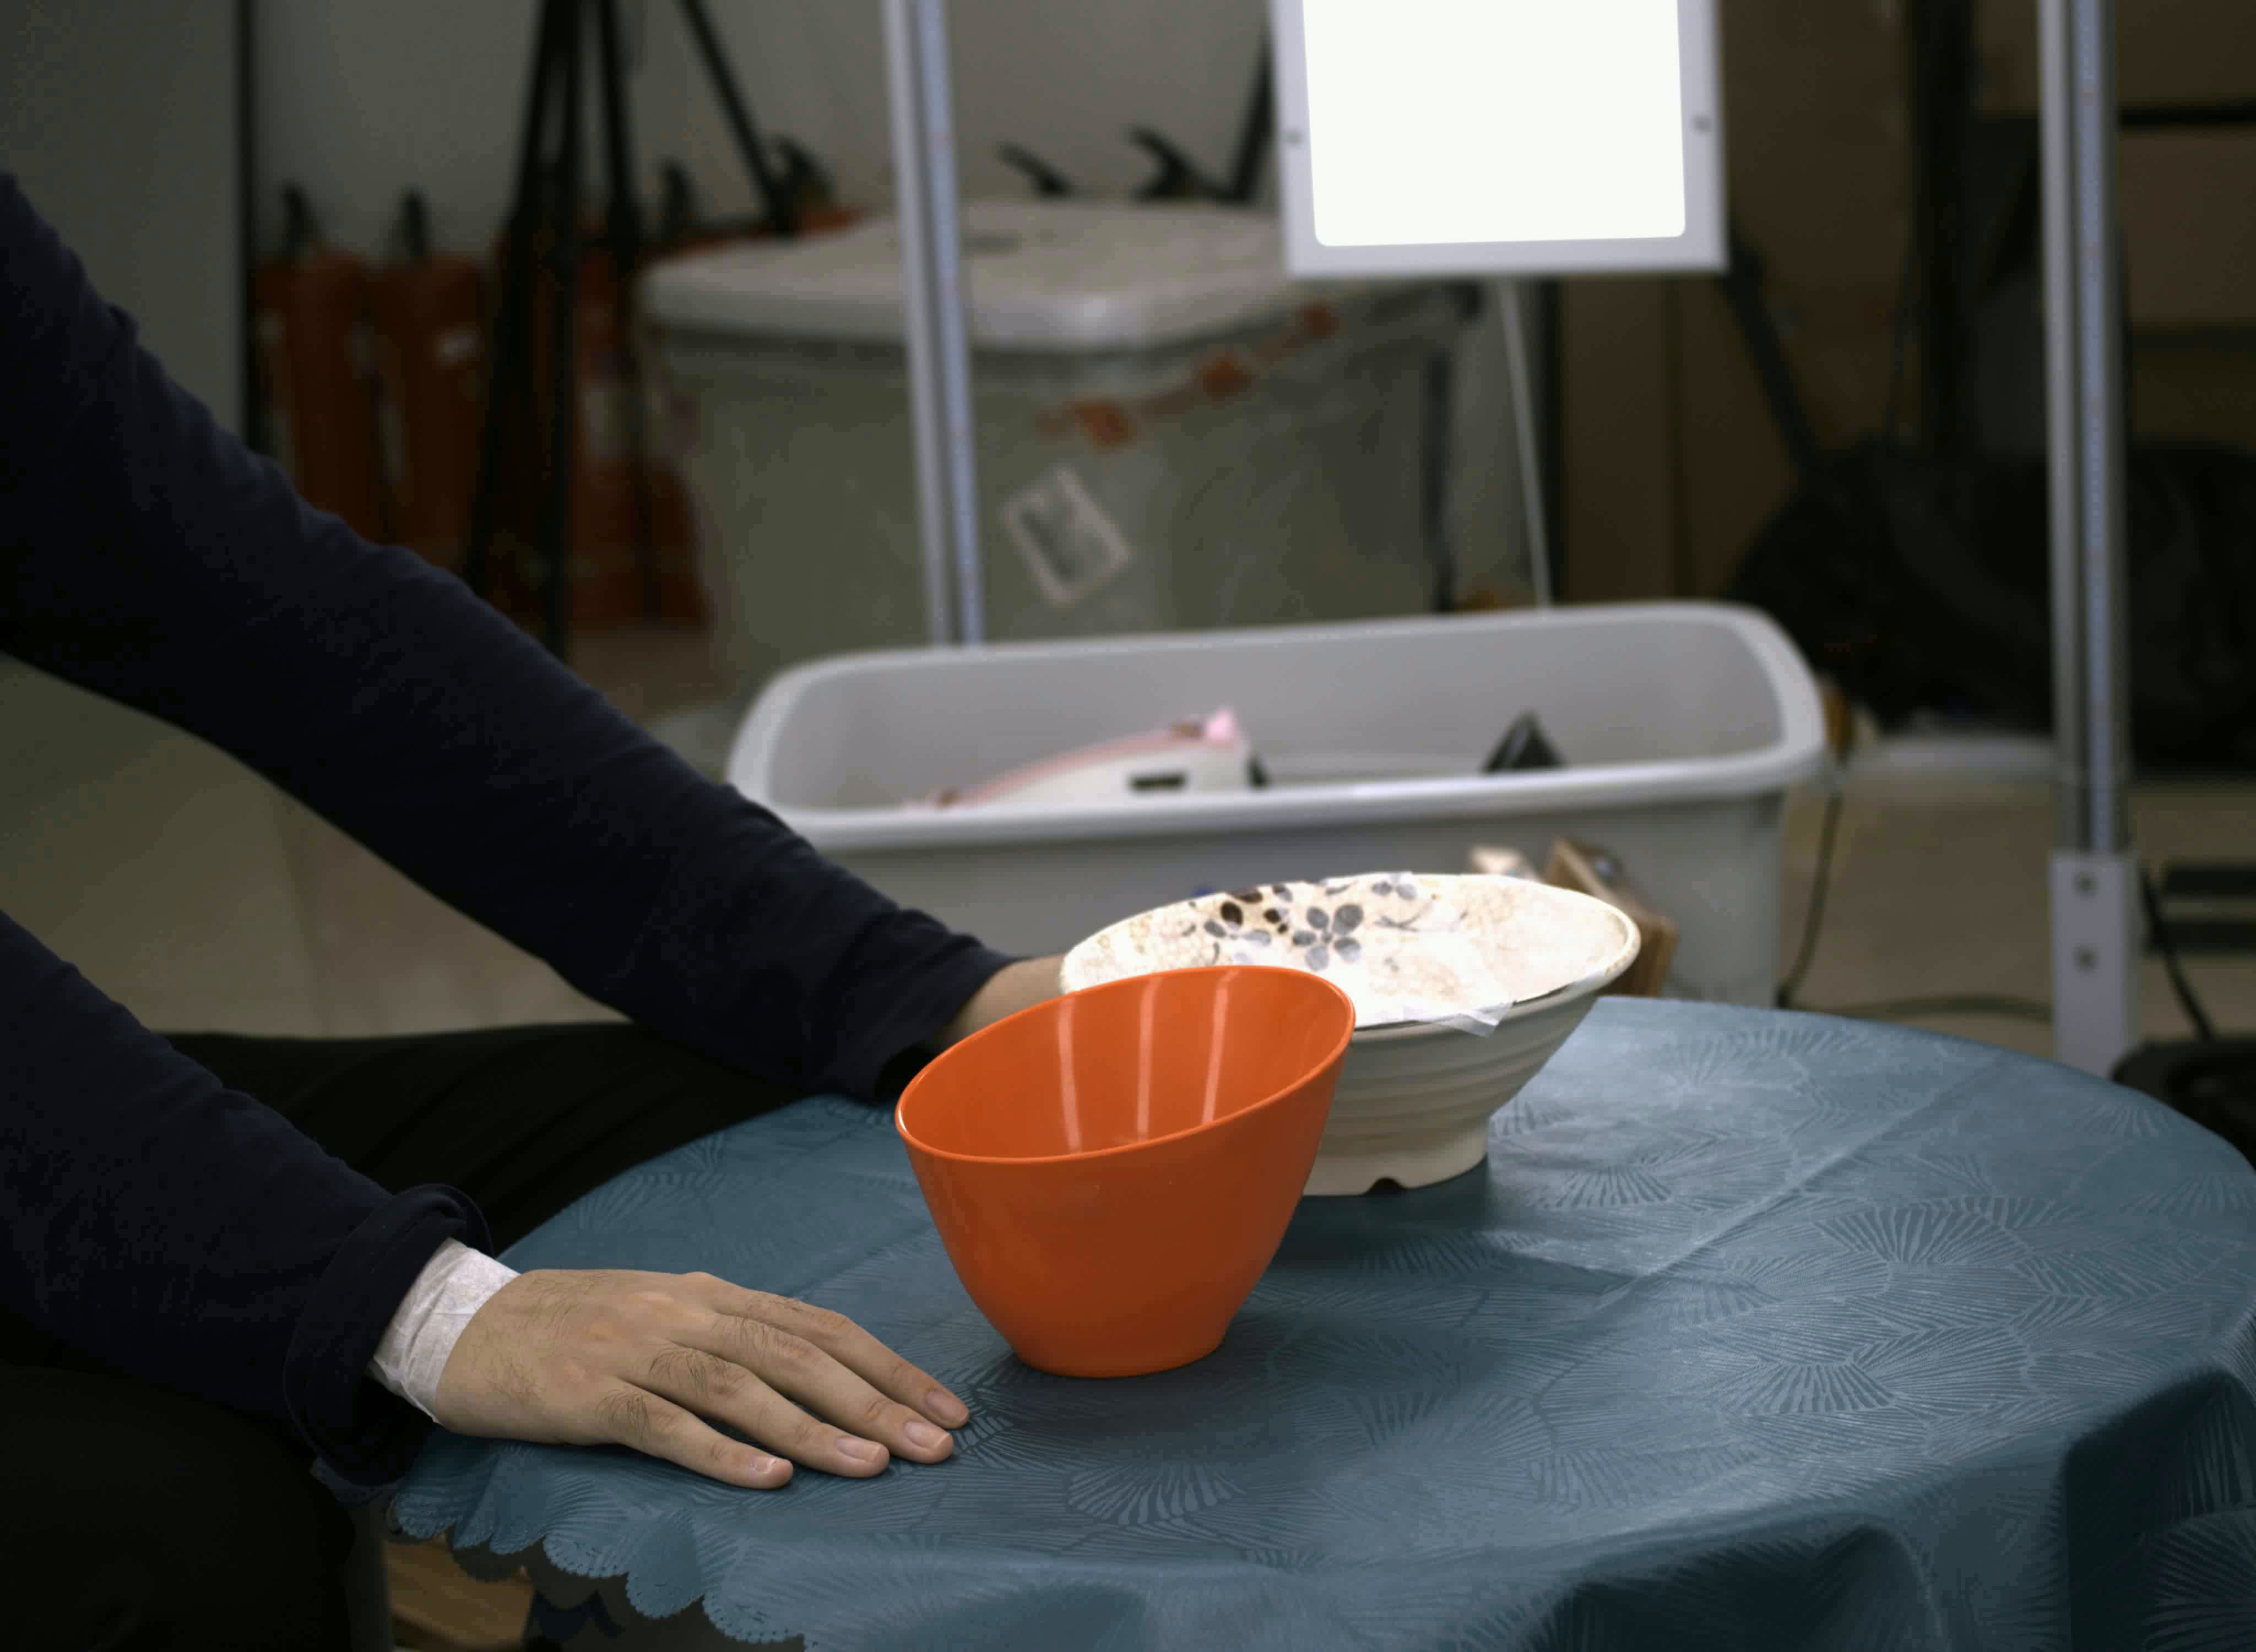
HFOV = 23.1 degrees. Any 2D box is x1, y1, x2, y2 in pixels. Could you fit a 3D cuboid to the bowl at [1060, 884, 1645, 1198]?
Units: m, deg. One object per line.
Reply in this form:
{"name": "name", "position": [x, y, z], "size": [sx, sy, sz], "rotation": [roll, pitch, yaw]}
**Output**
{"name": "bowl", "position": [0.081, 0.080, 1.905], "size": [0.203, 0.078, 0.204], "rotation": [-6, 12, 0]}

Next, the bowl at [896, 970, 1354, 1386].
{"name": "bowl", "position": [0.004, 0.115, 1.741], "size": [0.148, 0.105, 0.148], "rotation": [-7, 14, 0]}
